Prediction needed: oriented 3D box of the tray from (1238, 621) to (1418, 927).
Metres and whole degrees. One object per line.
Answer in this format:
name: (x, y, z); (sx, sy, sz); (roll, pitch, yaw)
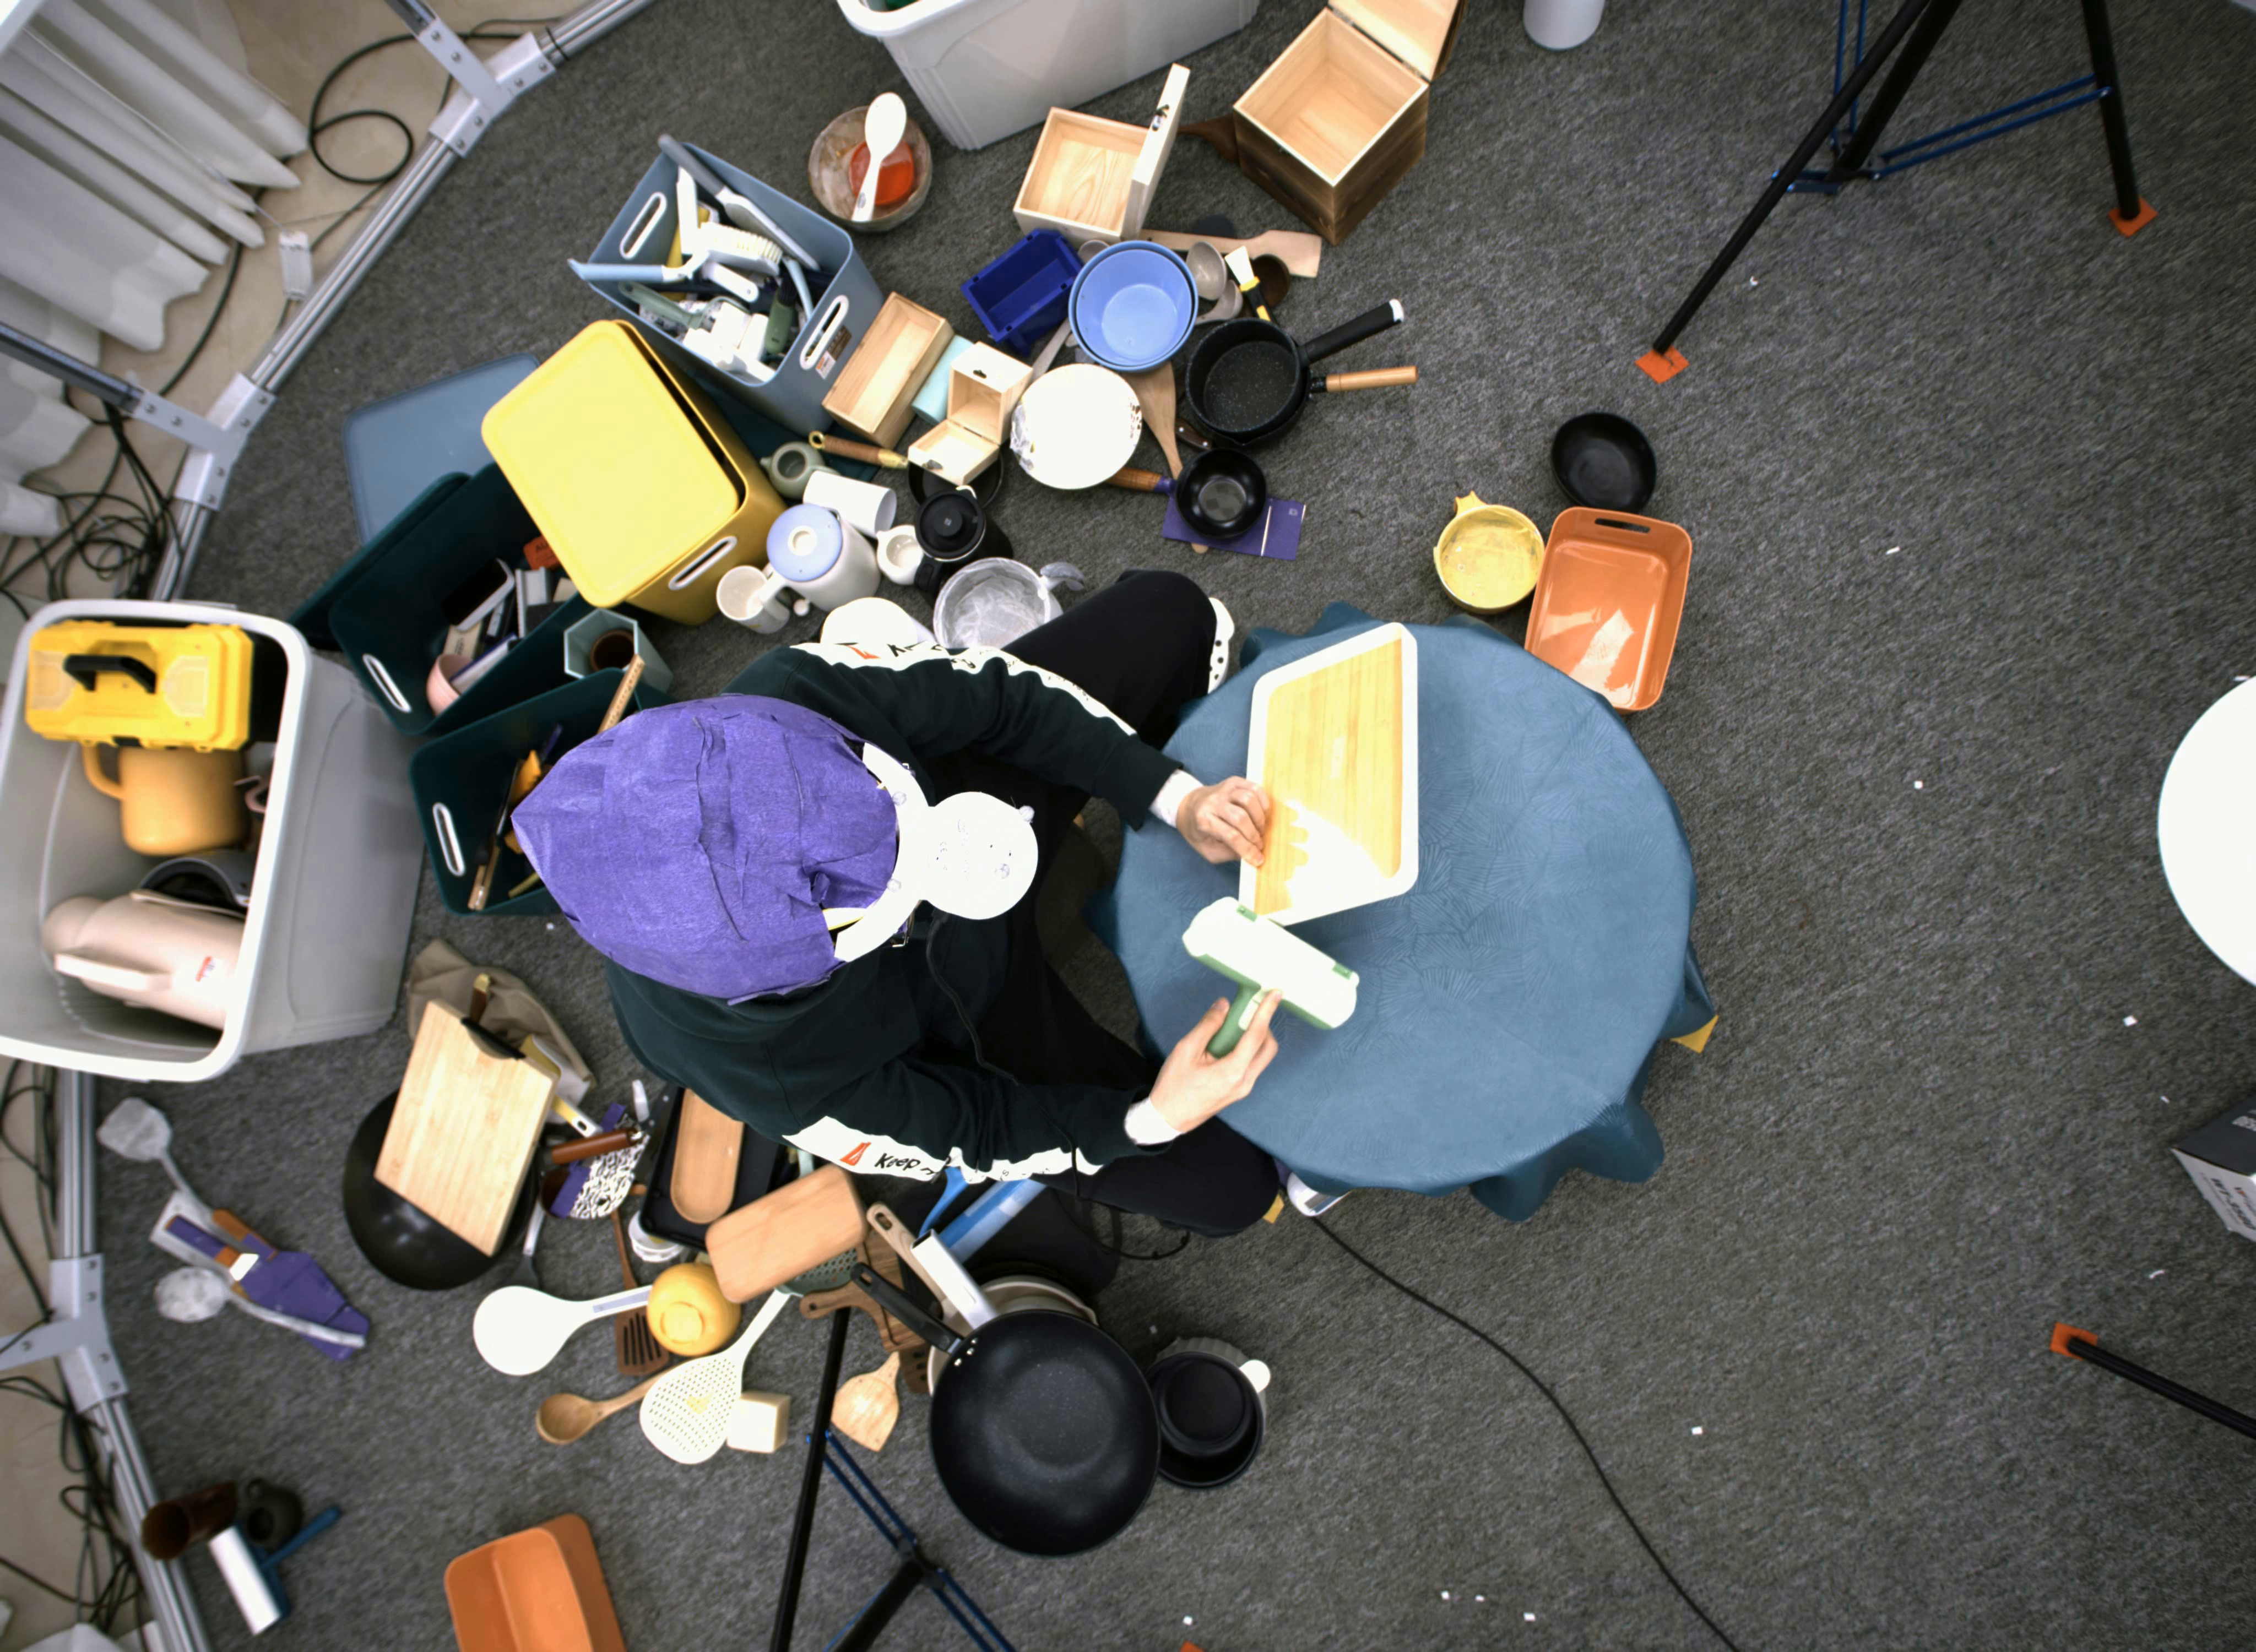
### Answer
tray: (0.198, -0.052, 1.361); (0.194, 0.027, 0.293); (-19, 54, 39)

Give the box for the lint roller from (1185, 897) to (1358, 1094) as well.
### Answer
lint roller: (0.119, 0.185, 1.335); (0.200, 0.082, 0.183); (31, 86, -32)
